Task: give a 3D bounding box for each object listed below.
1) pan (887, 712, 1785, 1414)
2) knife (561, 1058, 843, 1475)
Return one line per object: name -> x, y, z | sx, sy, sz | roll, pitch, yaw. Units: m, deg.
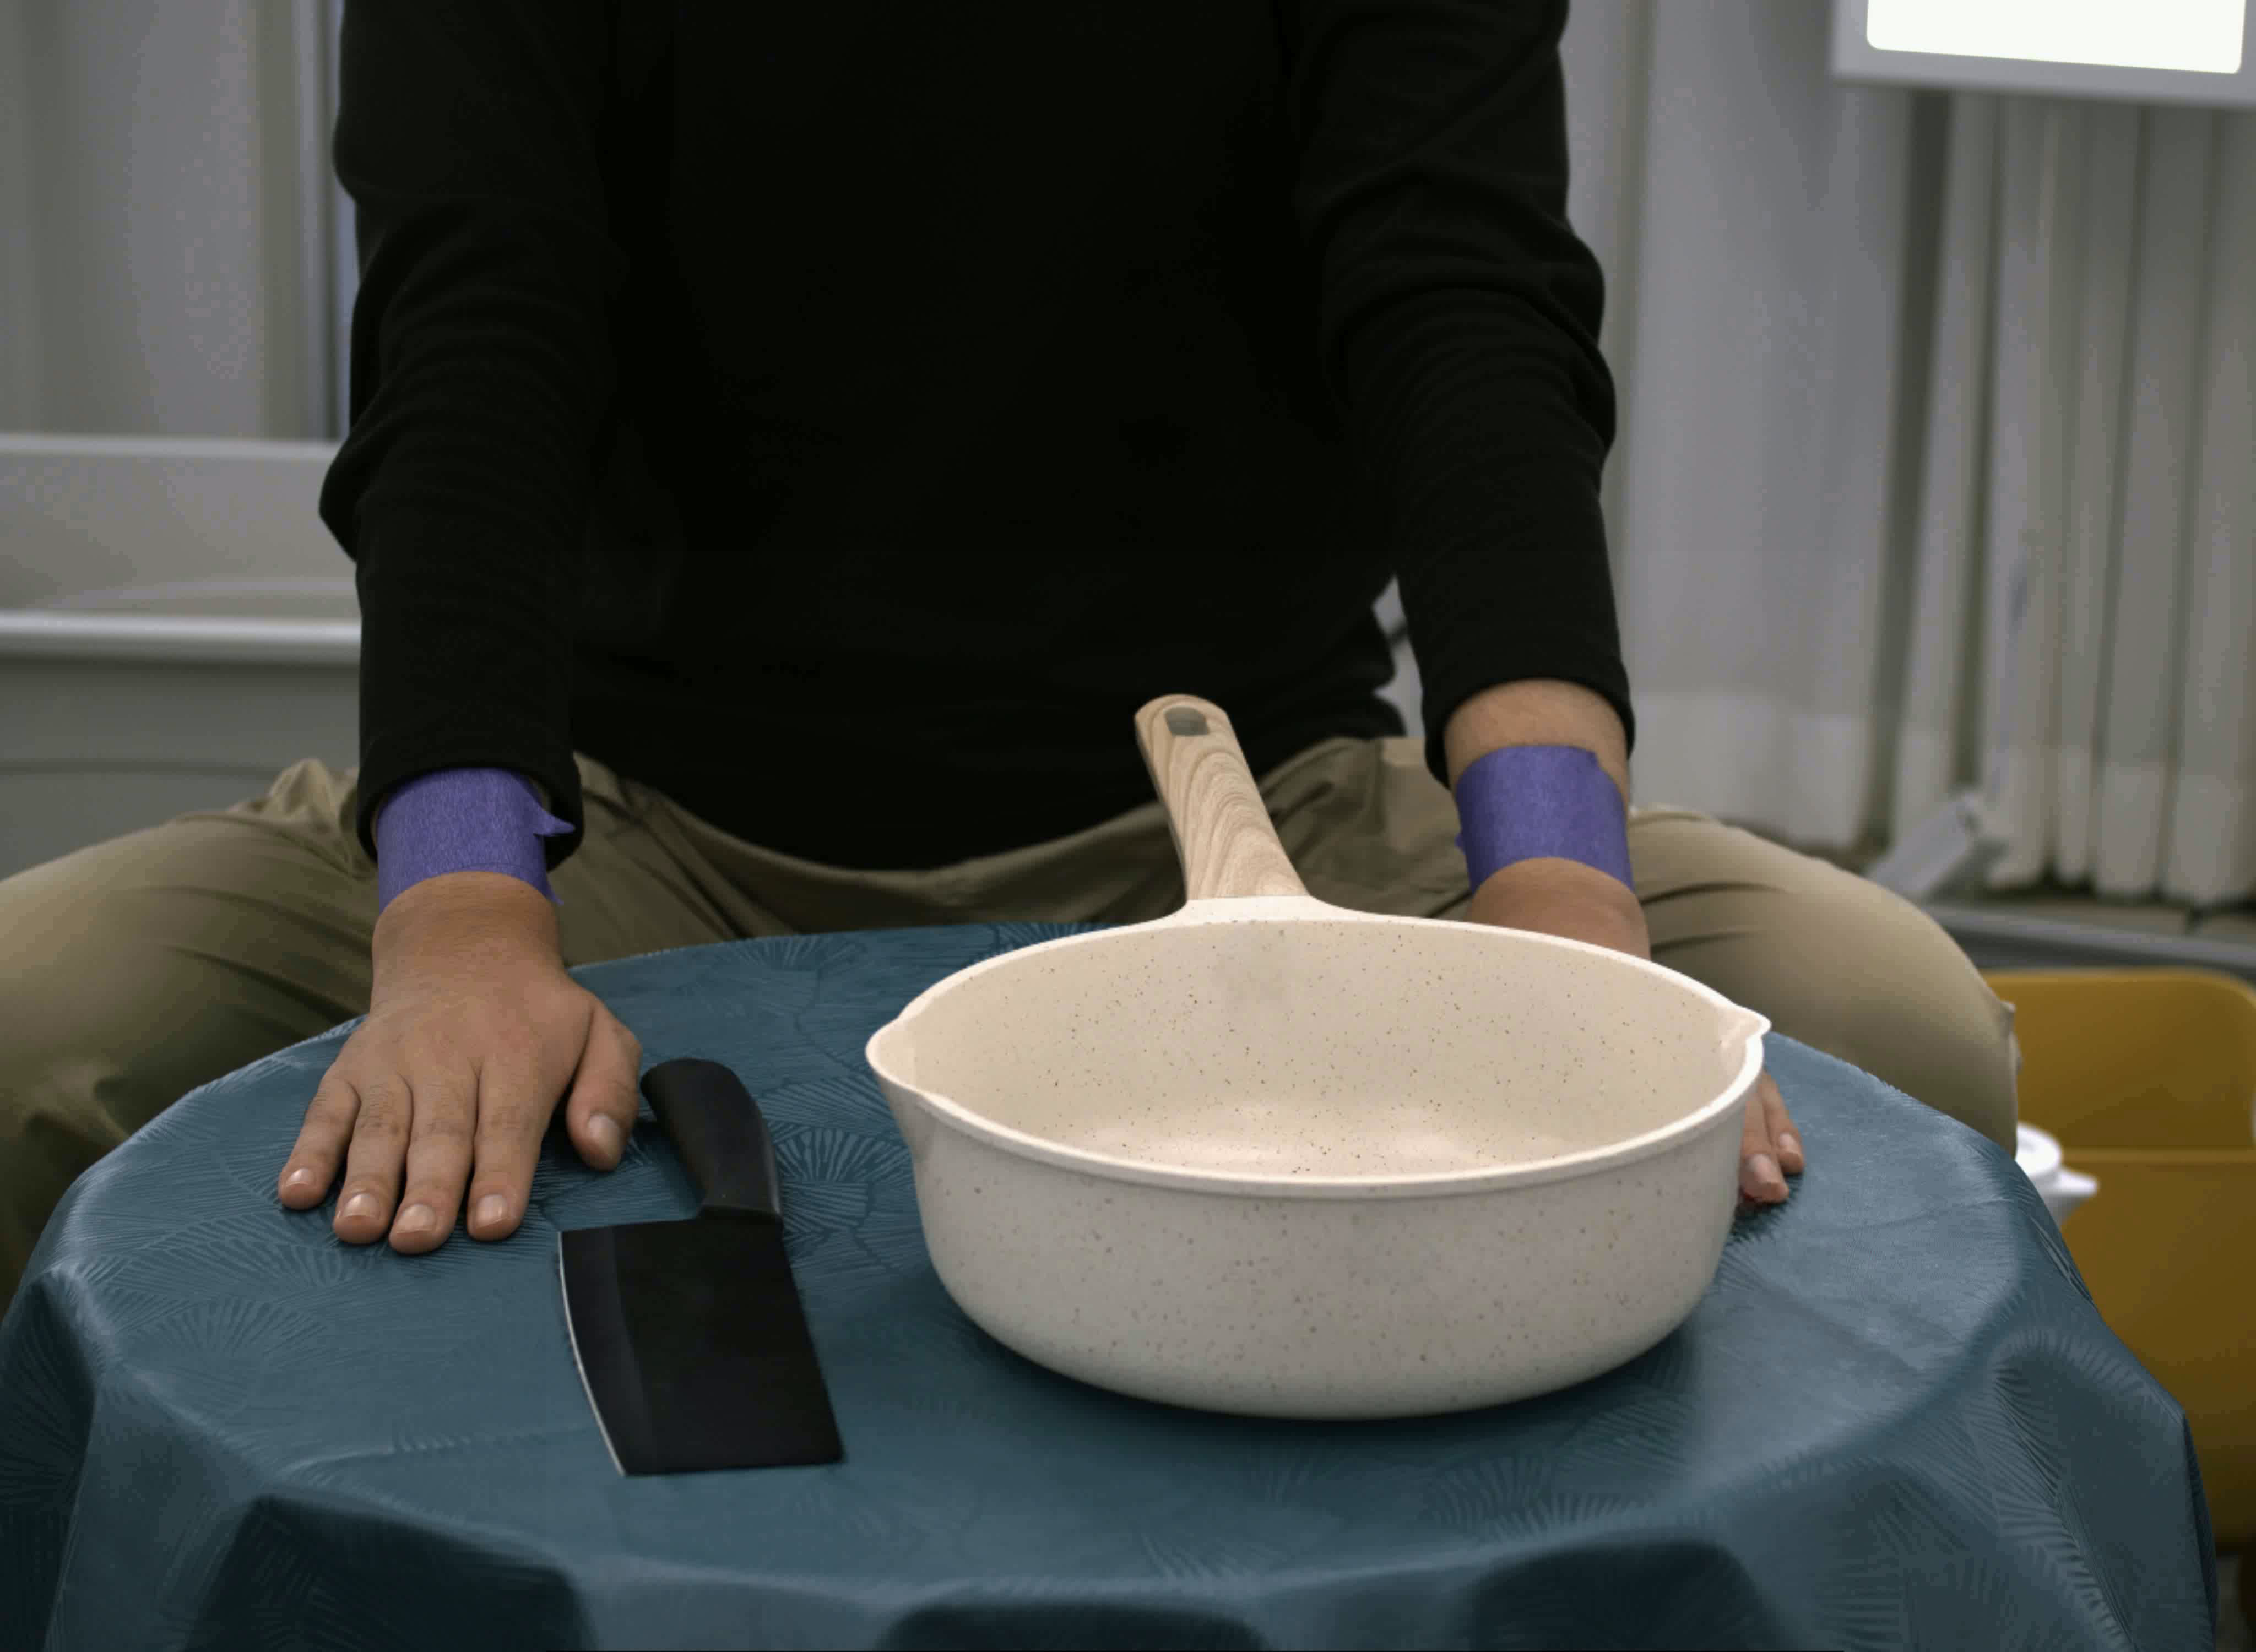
pan -> 0.048, 0.066, 1.604 | 0.263, 0.103, 0.431 | -3, 16, -8
knife -> -0.127, 0.127, 1.542 | 0.081, 0.021, 0.300 | -2, 18, -4
